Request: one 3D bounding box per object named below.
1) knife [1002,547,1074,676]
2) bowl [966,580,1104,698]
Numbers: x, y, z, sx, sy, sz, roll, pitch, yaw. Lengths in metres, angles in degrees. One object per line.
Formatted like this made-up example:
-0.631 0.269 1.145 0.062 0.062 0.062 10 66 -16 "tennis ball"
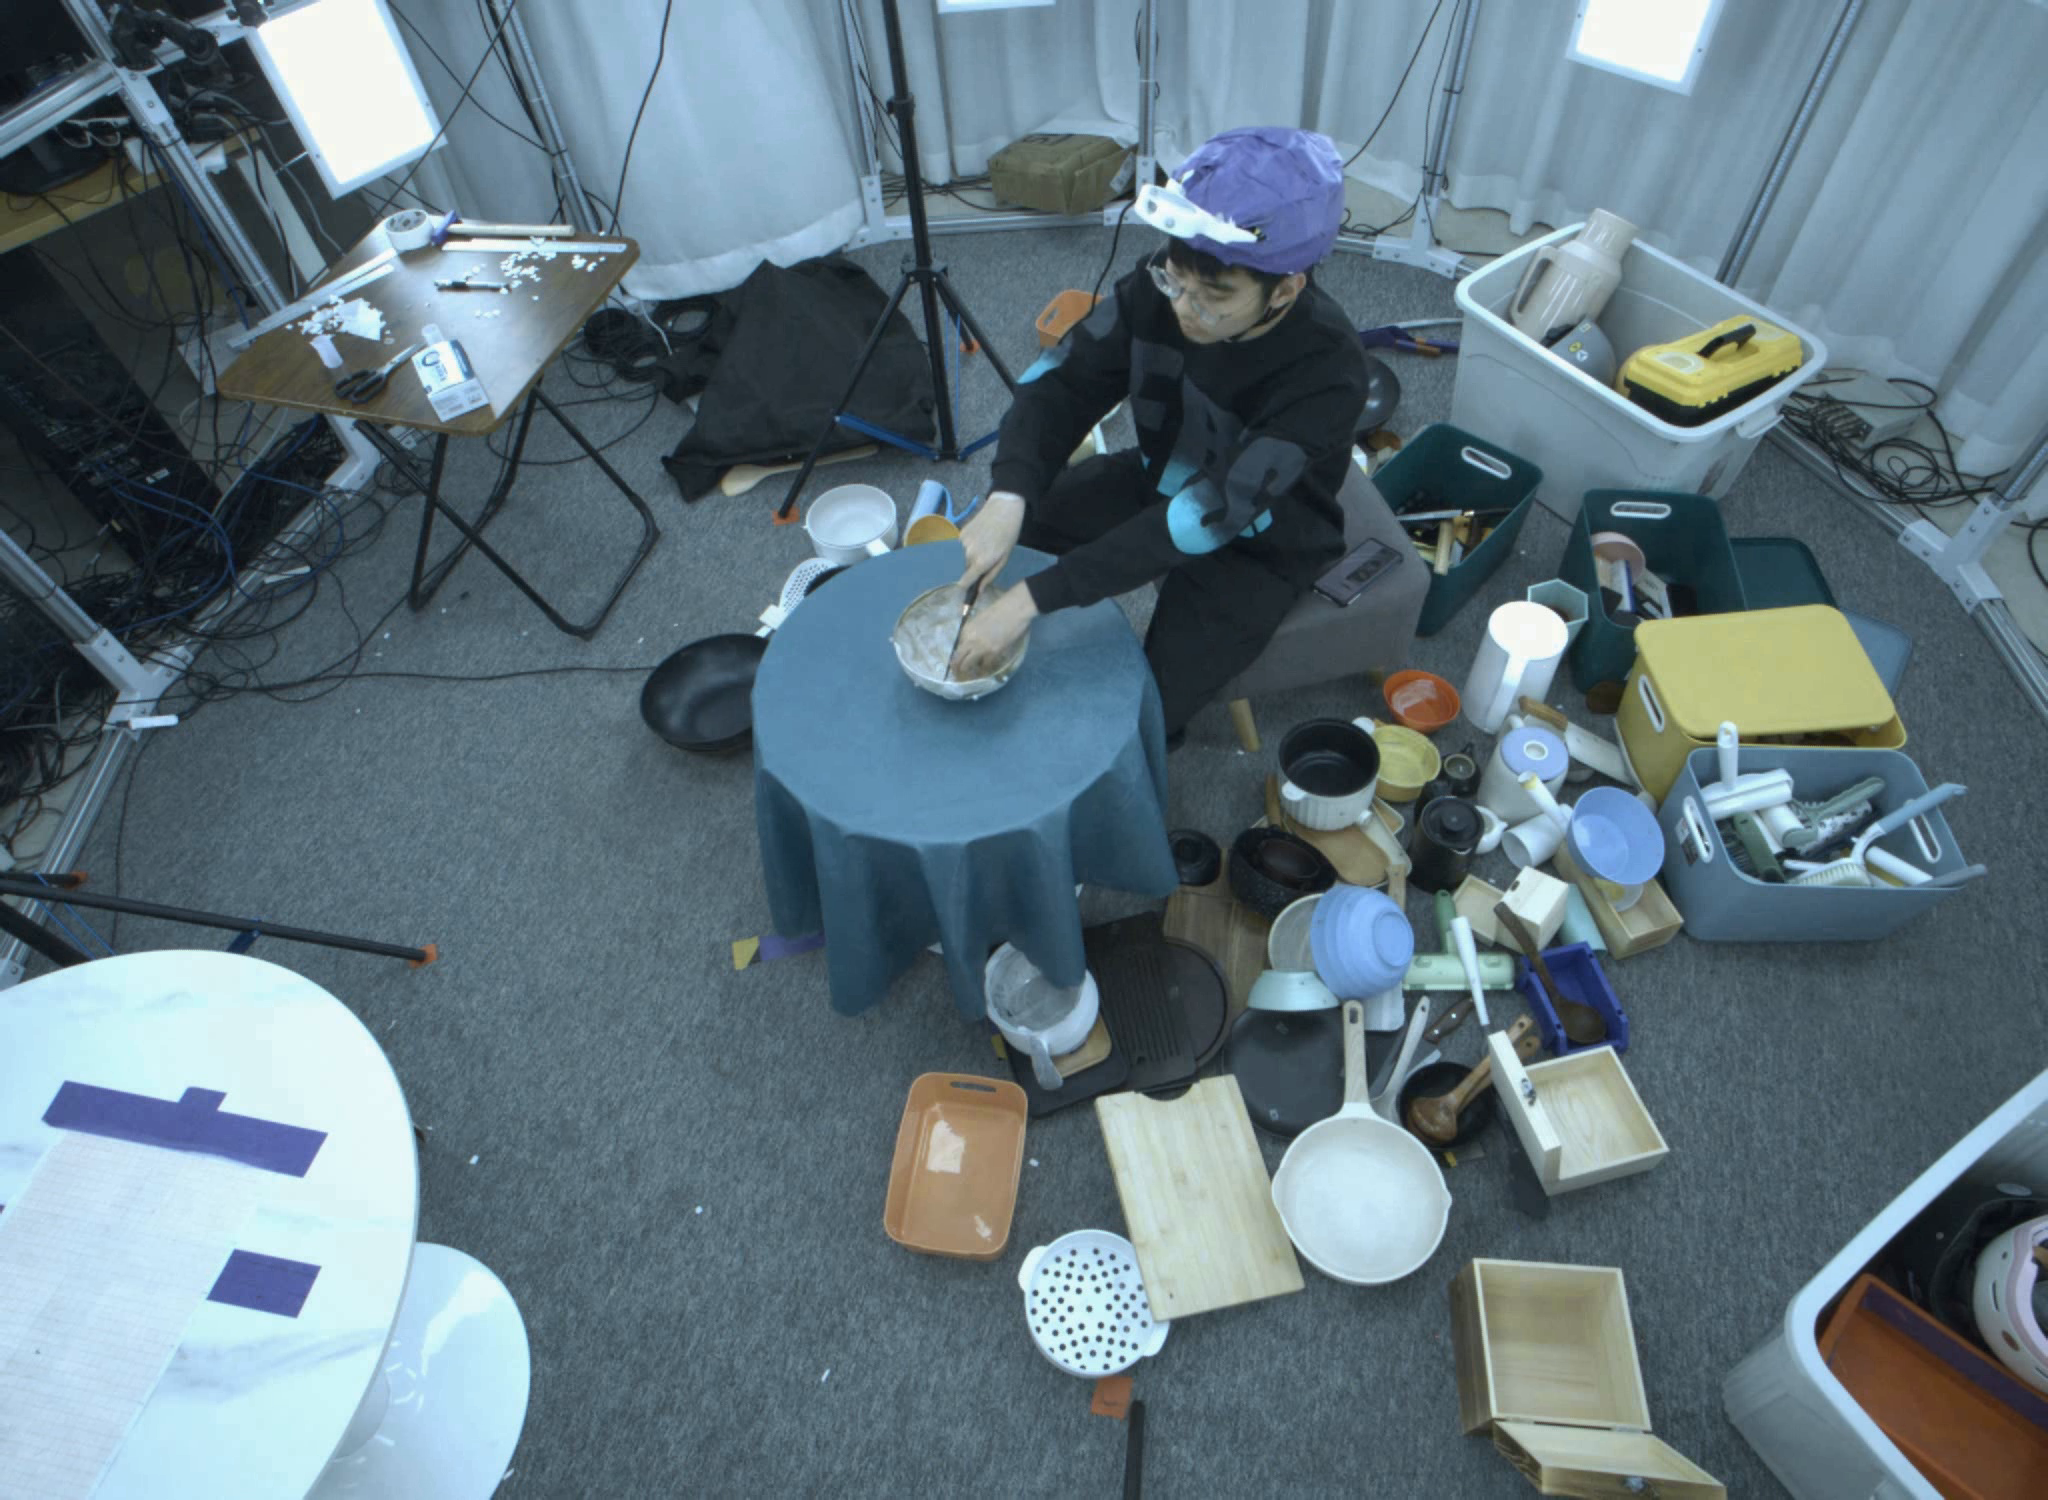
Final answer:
0.018 -0.200 1.830 0.025 0.017 0.225 34 100 46 "knife"
0.021 -0.153 1.835 0.214 0.095 0.212 -1 54 3 "bowl"
